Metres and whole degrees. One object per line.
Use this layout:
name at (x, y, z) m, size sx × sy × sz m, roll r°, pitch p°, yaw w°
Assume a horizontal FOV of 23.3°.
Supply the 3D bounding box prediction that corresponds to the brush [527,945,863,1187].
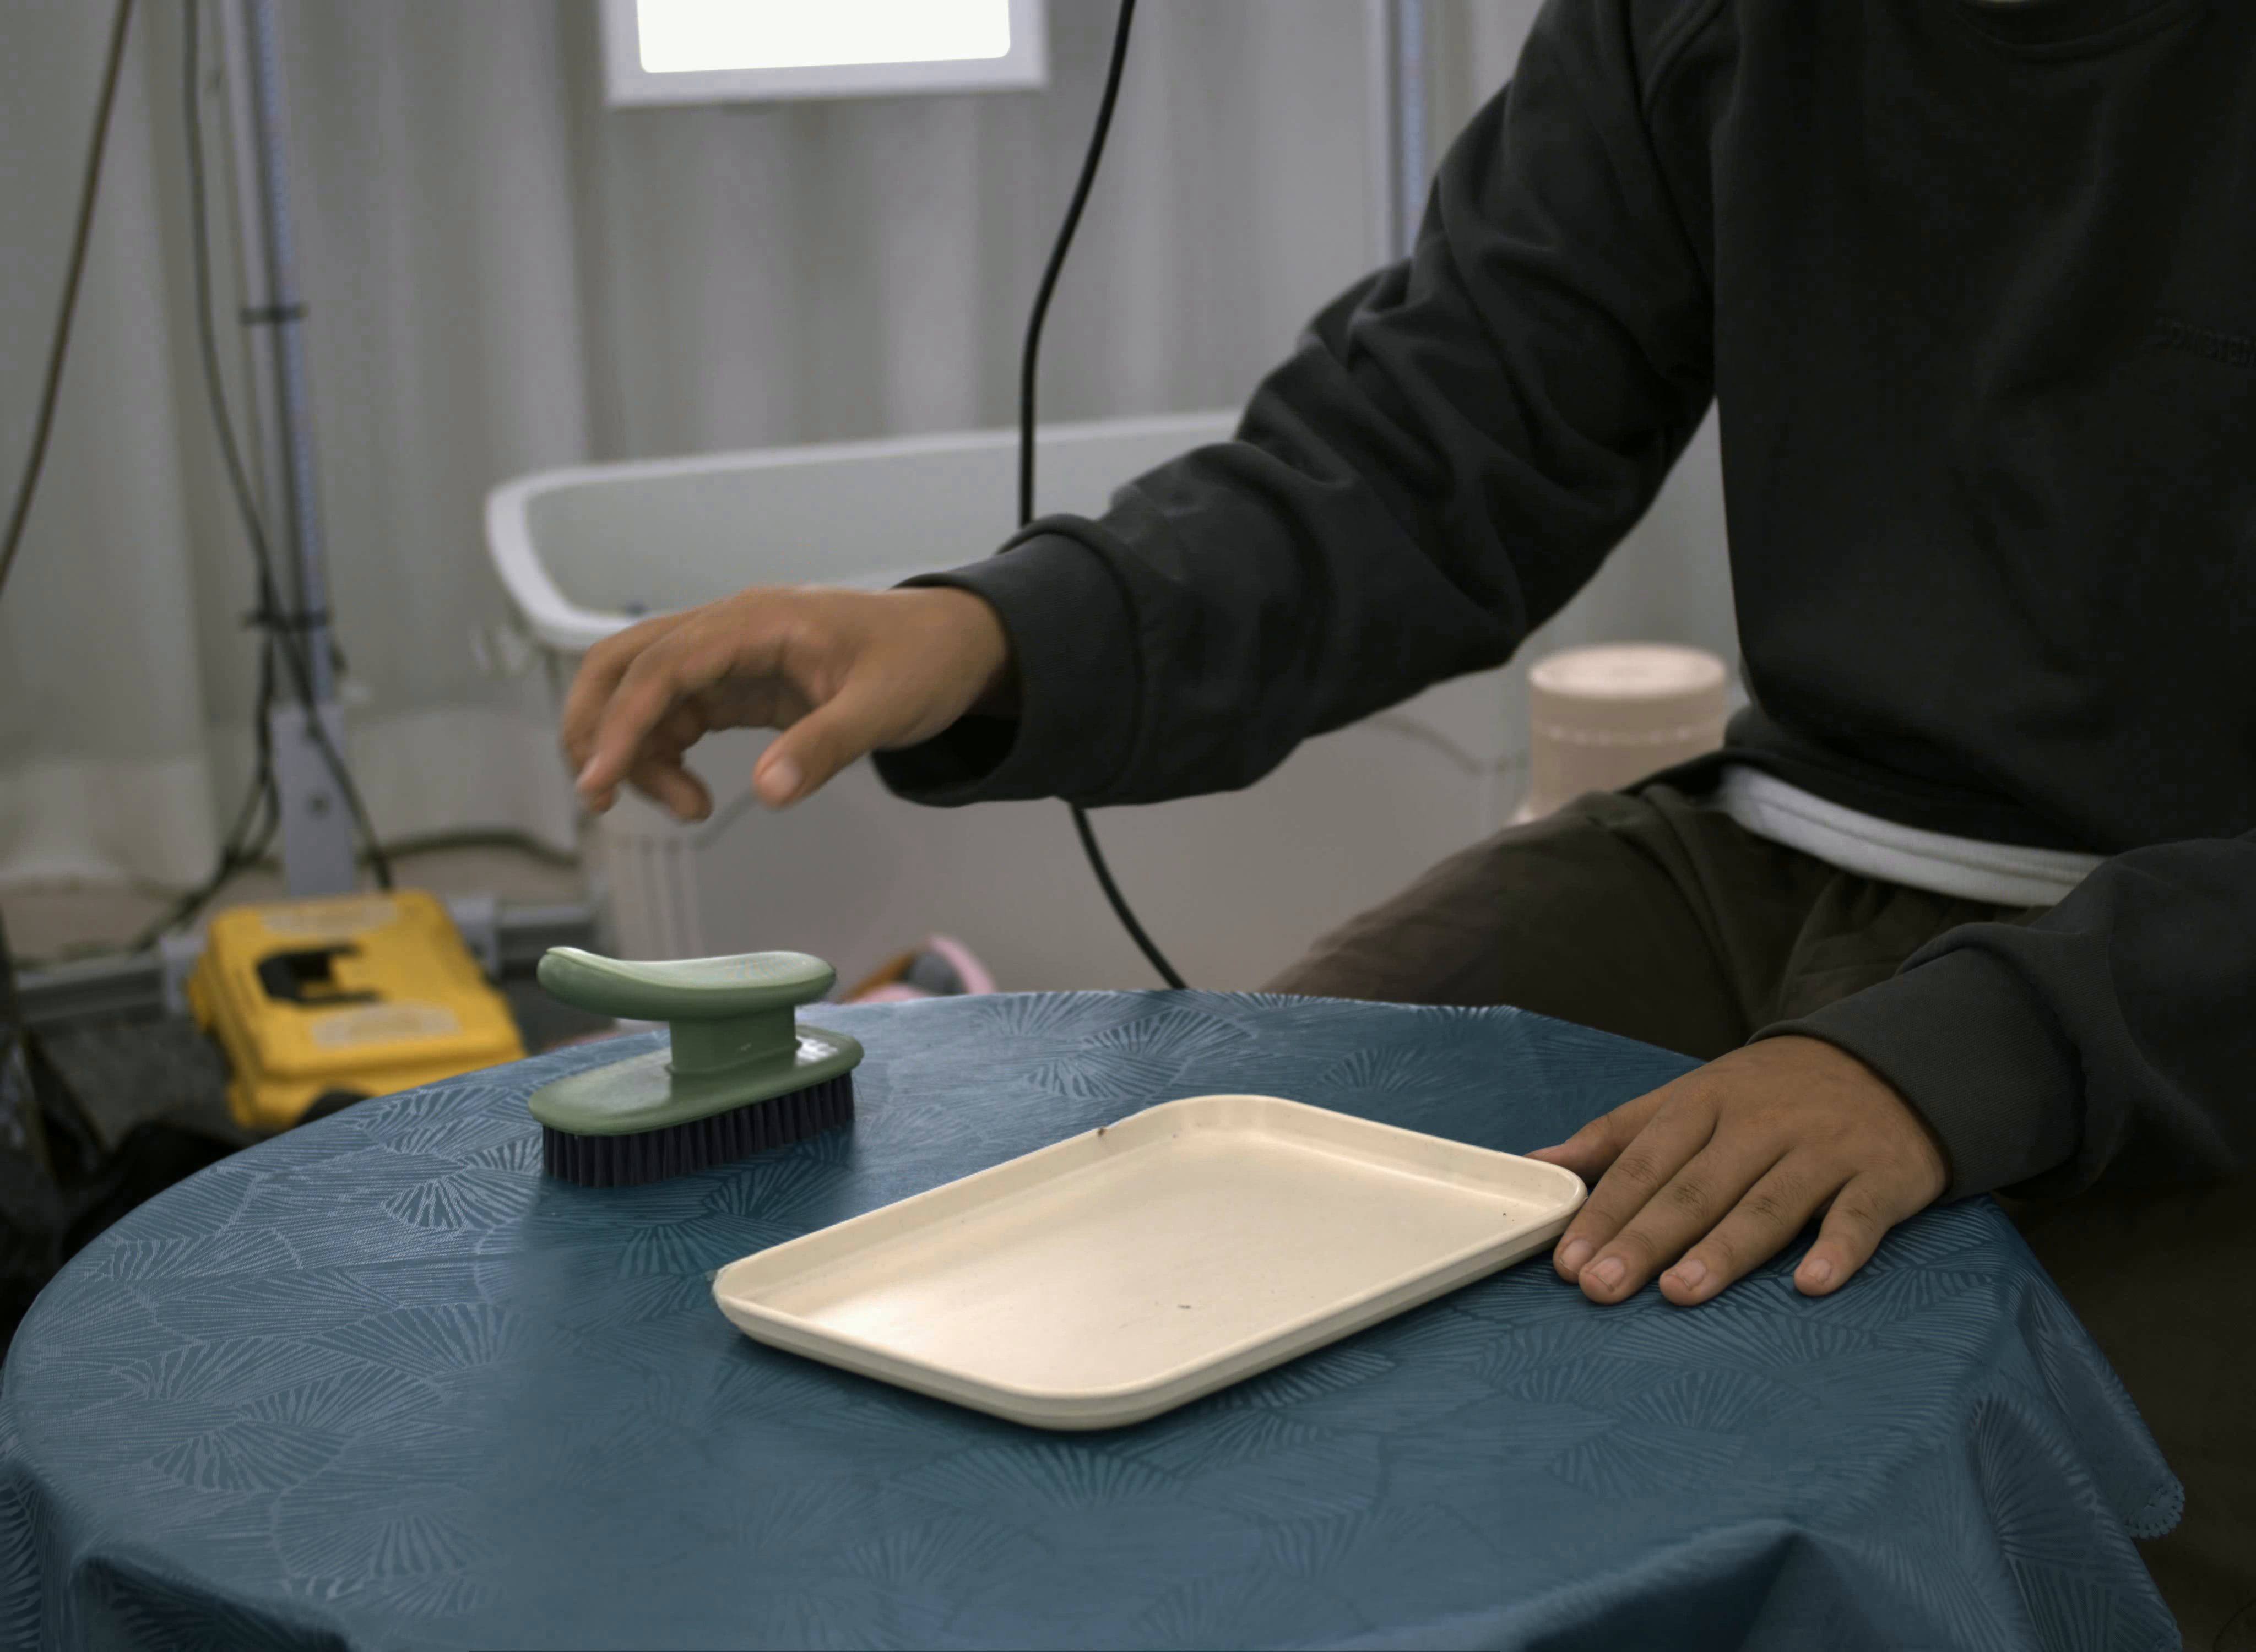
brush at (-0.142, 0.078, 1.778) m, size 0.122 × 0.076 × 0.060 m, roll 3°, pitch 7°, yaw -43°

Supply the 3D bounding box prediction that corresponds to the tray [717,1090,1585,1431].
tray at (0.009, 0.128, 1.630) m, size 0.172 × 0.017 × 0.239 m, roll 12°, pitch 21°, yaw 42°
